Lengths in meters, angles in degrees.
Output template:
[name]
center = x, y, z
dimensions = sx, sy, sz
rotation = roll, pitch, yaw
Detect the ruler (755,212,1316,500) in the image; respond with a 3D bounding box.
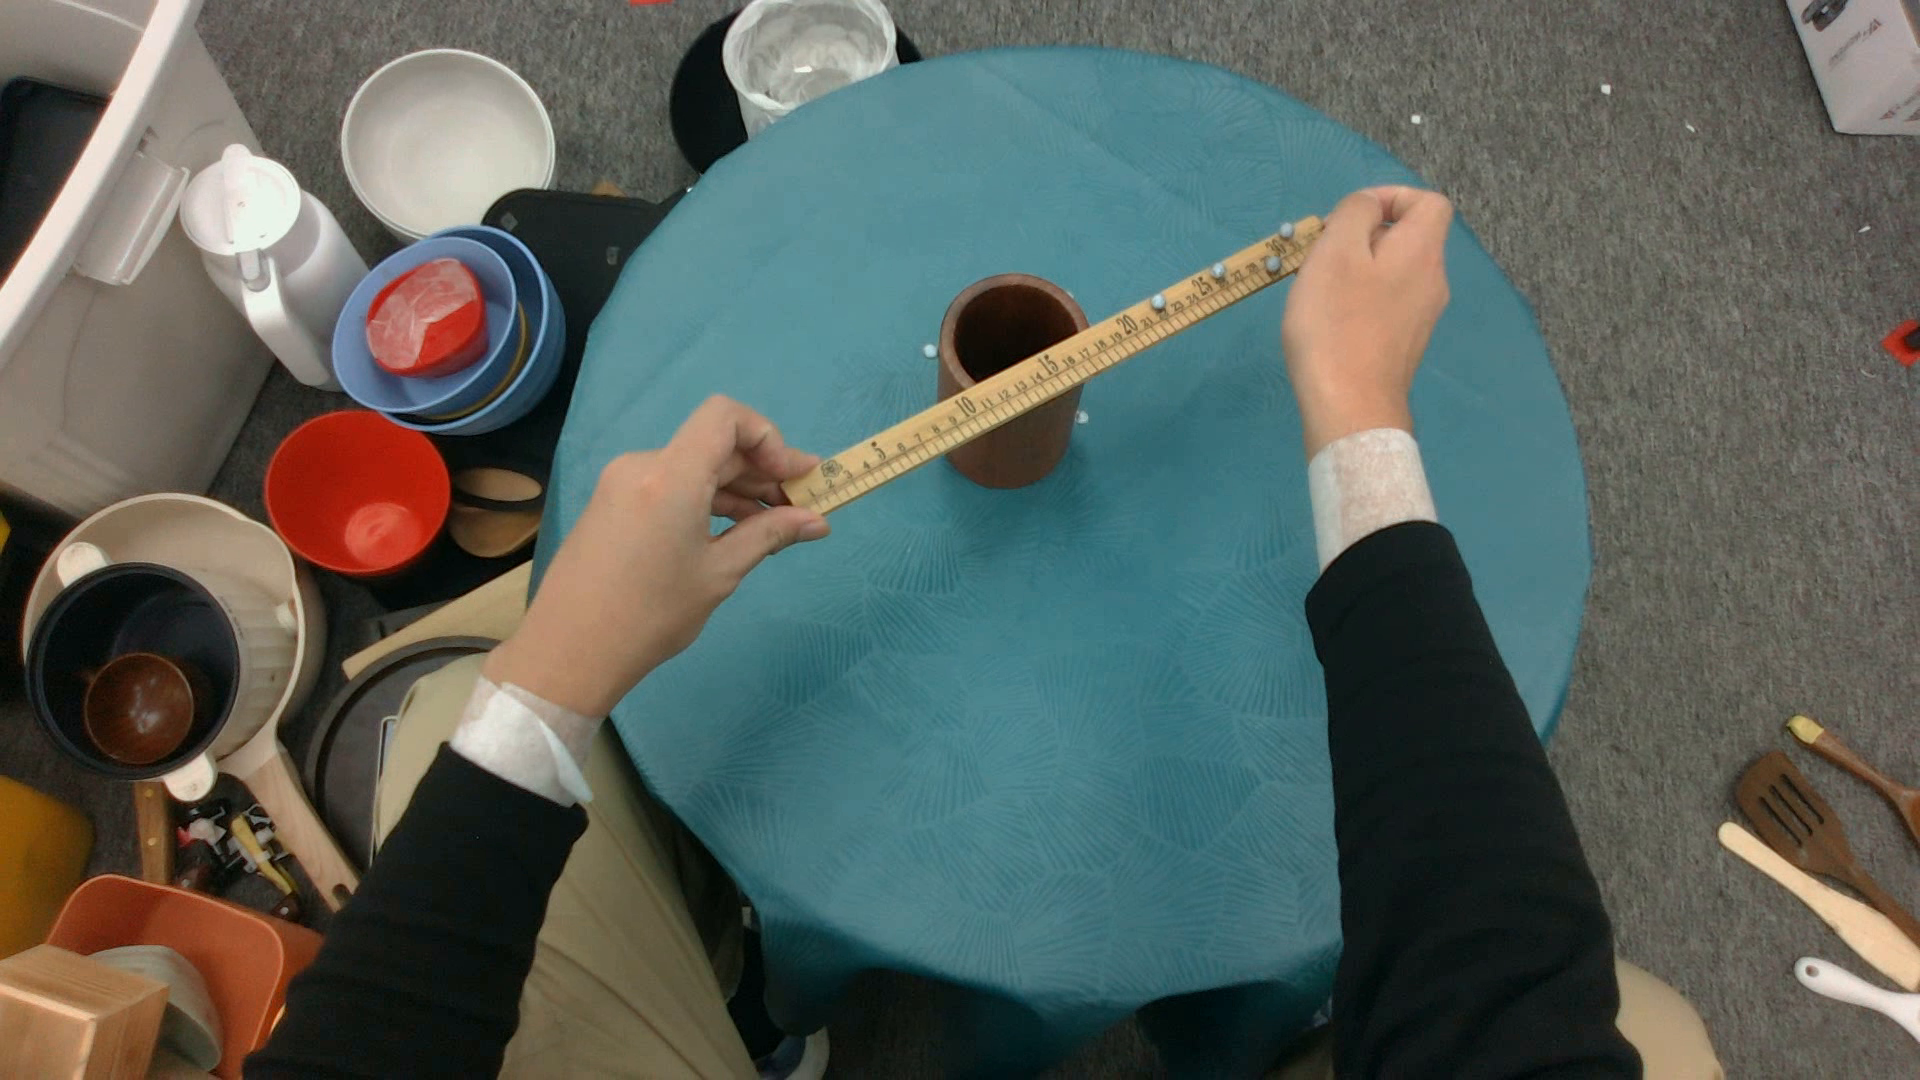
[ruler]
center = 0.049, -0.101, 0.697
dimensions = 0.333, 0.022, 0.027
rotation = -27, 67, -19

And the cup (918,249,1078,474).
[cup]
center = 0.018, -0.095, 0.756
dimensions = 0.088, 0.118, 0.088
rotation = 1, 70, -2
